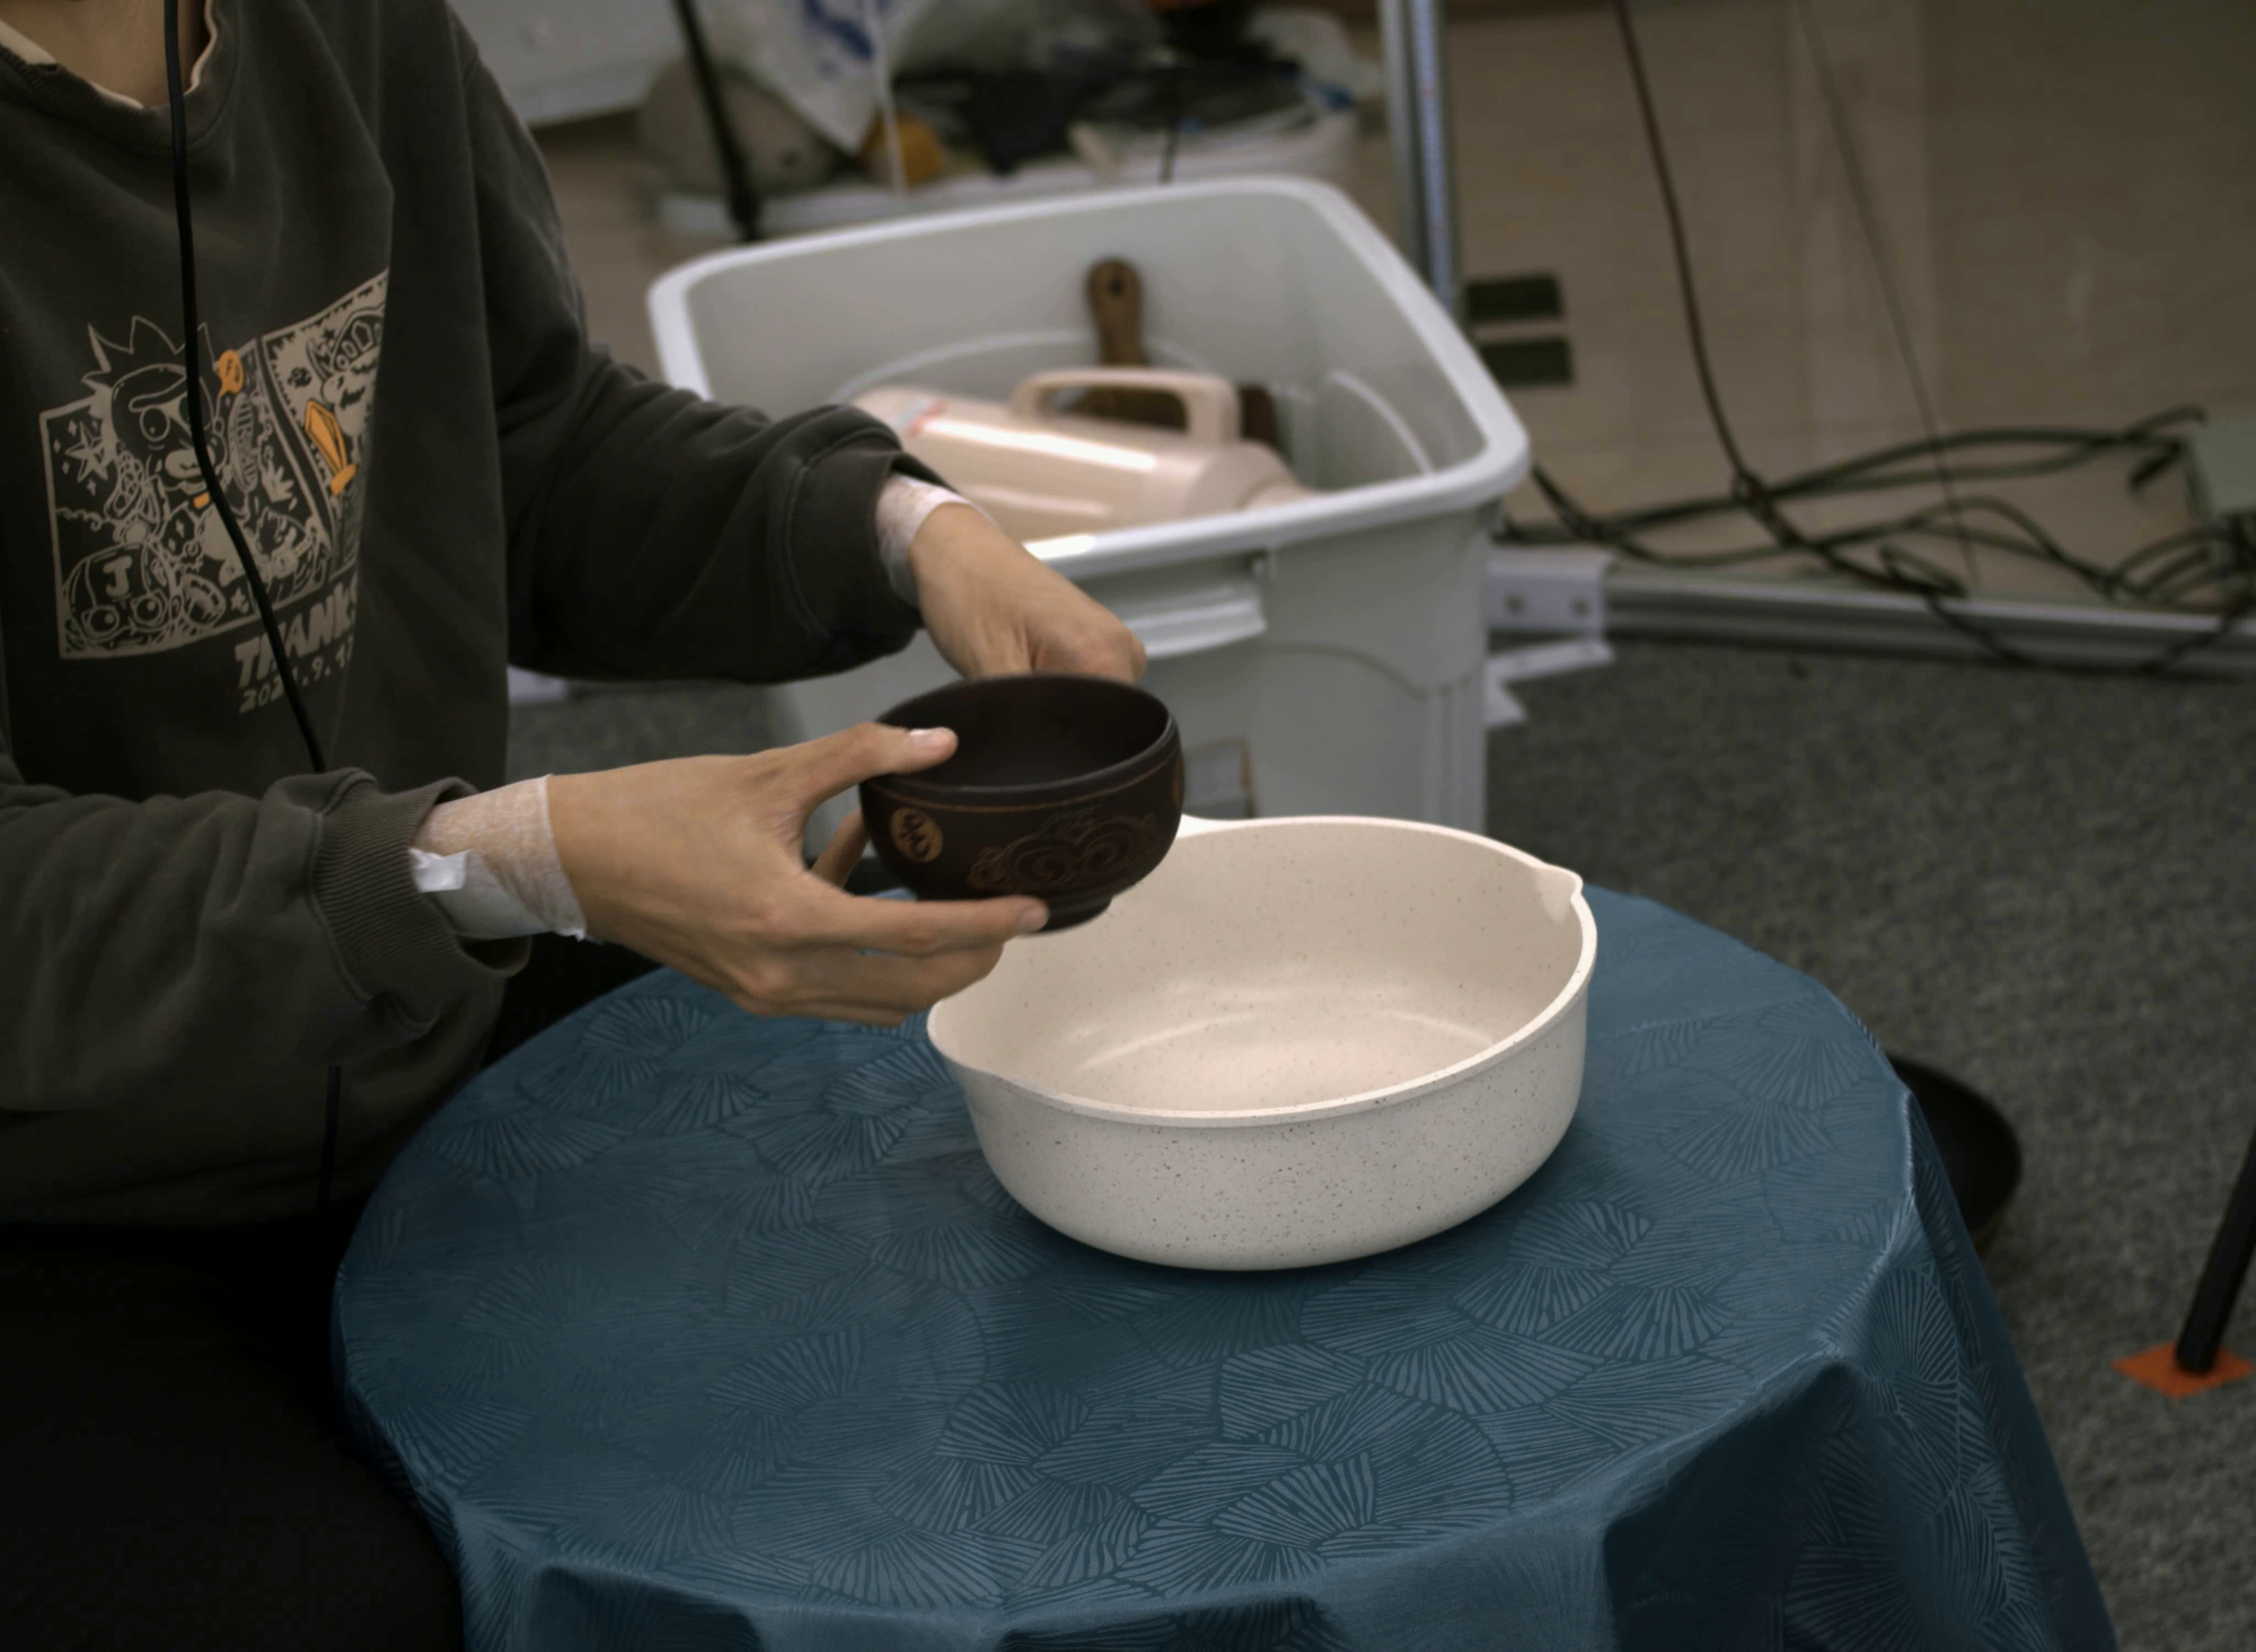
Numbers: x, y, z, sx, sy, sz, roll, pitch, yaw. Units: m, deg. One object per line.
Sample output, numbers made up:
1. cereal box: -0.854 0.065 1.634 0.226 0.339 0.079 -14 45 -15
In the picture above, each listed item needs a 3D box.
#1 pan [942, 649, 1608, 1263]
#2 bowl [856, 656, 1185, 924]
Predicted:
1. pan: 0.026 0.045 2.224 0.262 0.103 0.429 -16 26 -16
2. bowl: -0.037 -0.008 2.035 0.118 0.071 0.116 -6 25 3
